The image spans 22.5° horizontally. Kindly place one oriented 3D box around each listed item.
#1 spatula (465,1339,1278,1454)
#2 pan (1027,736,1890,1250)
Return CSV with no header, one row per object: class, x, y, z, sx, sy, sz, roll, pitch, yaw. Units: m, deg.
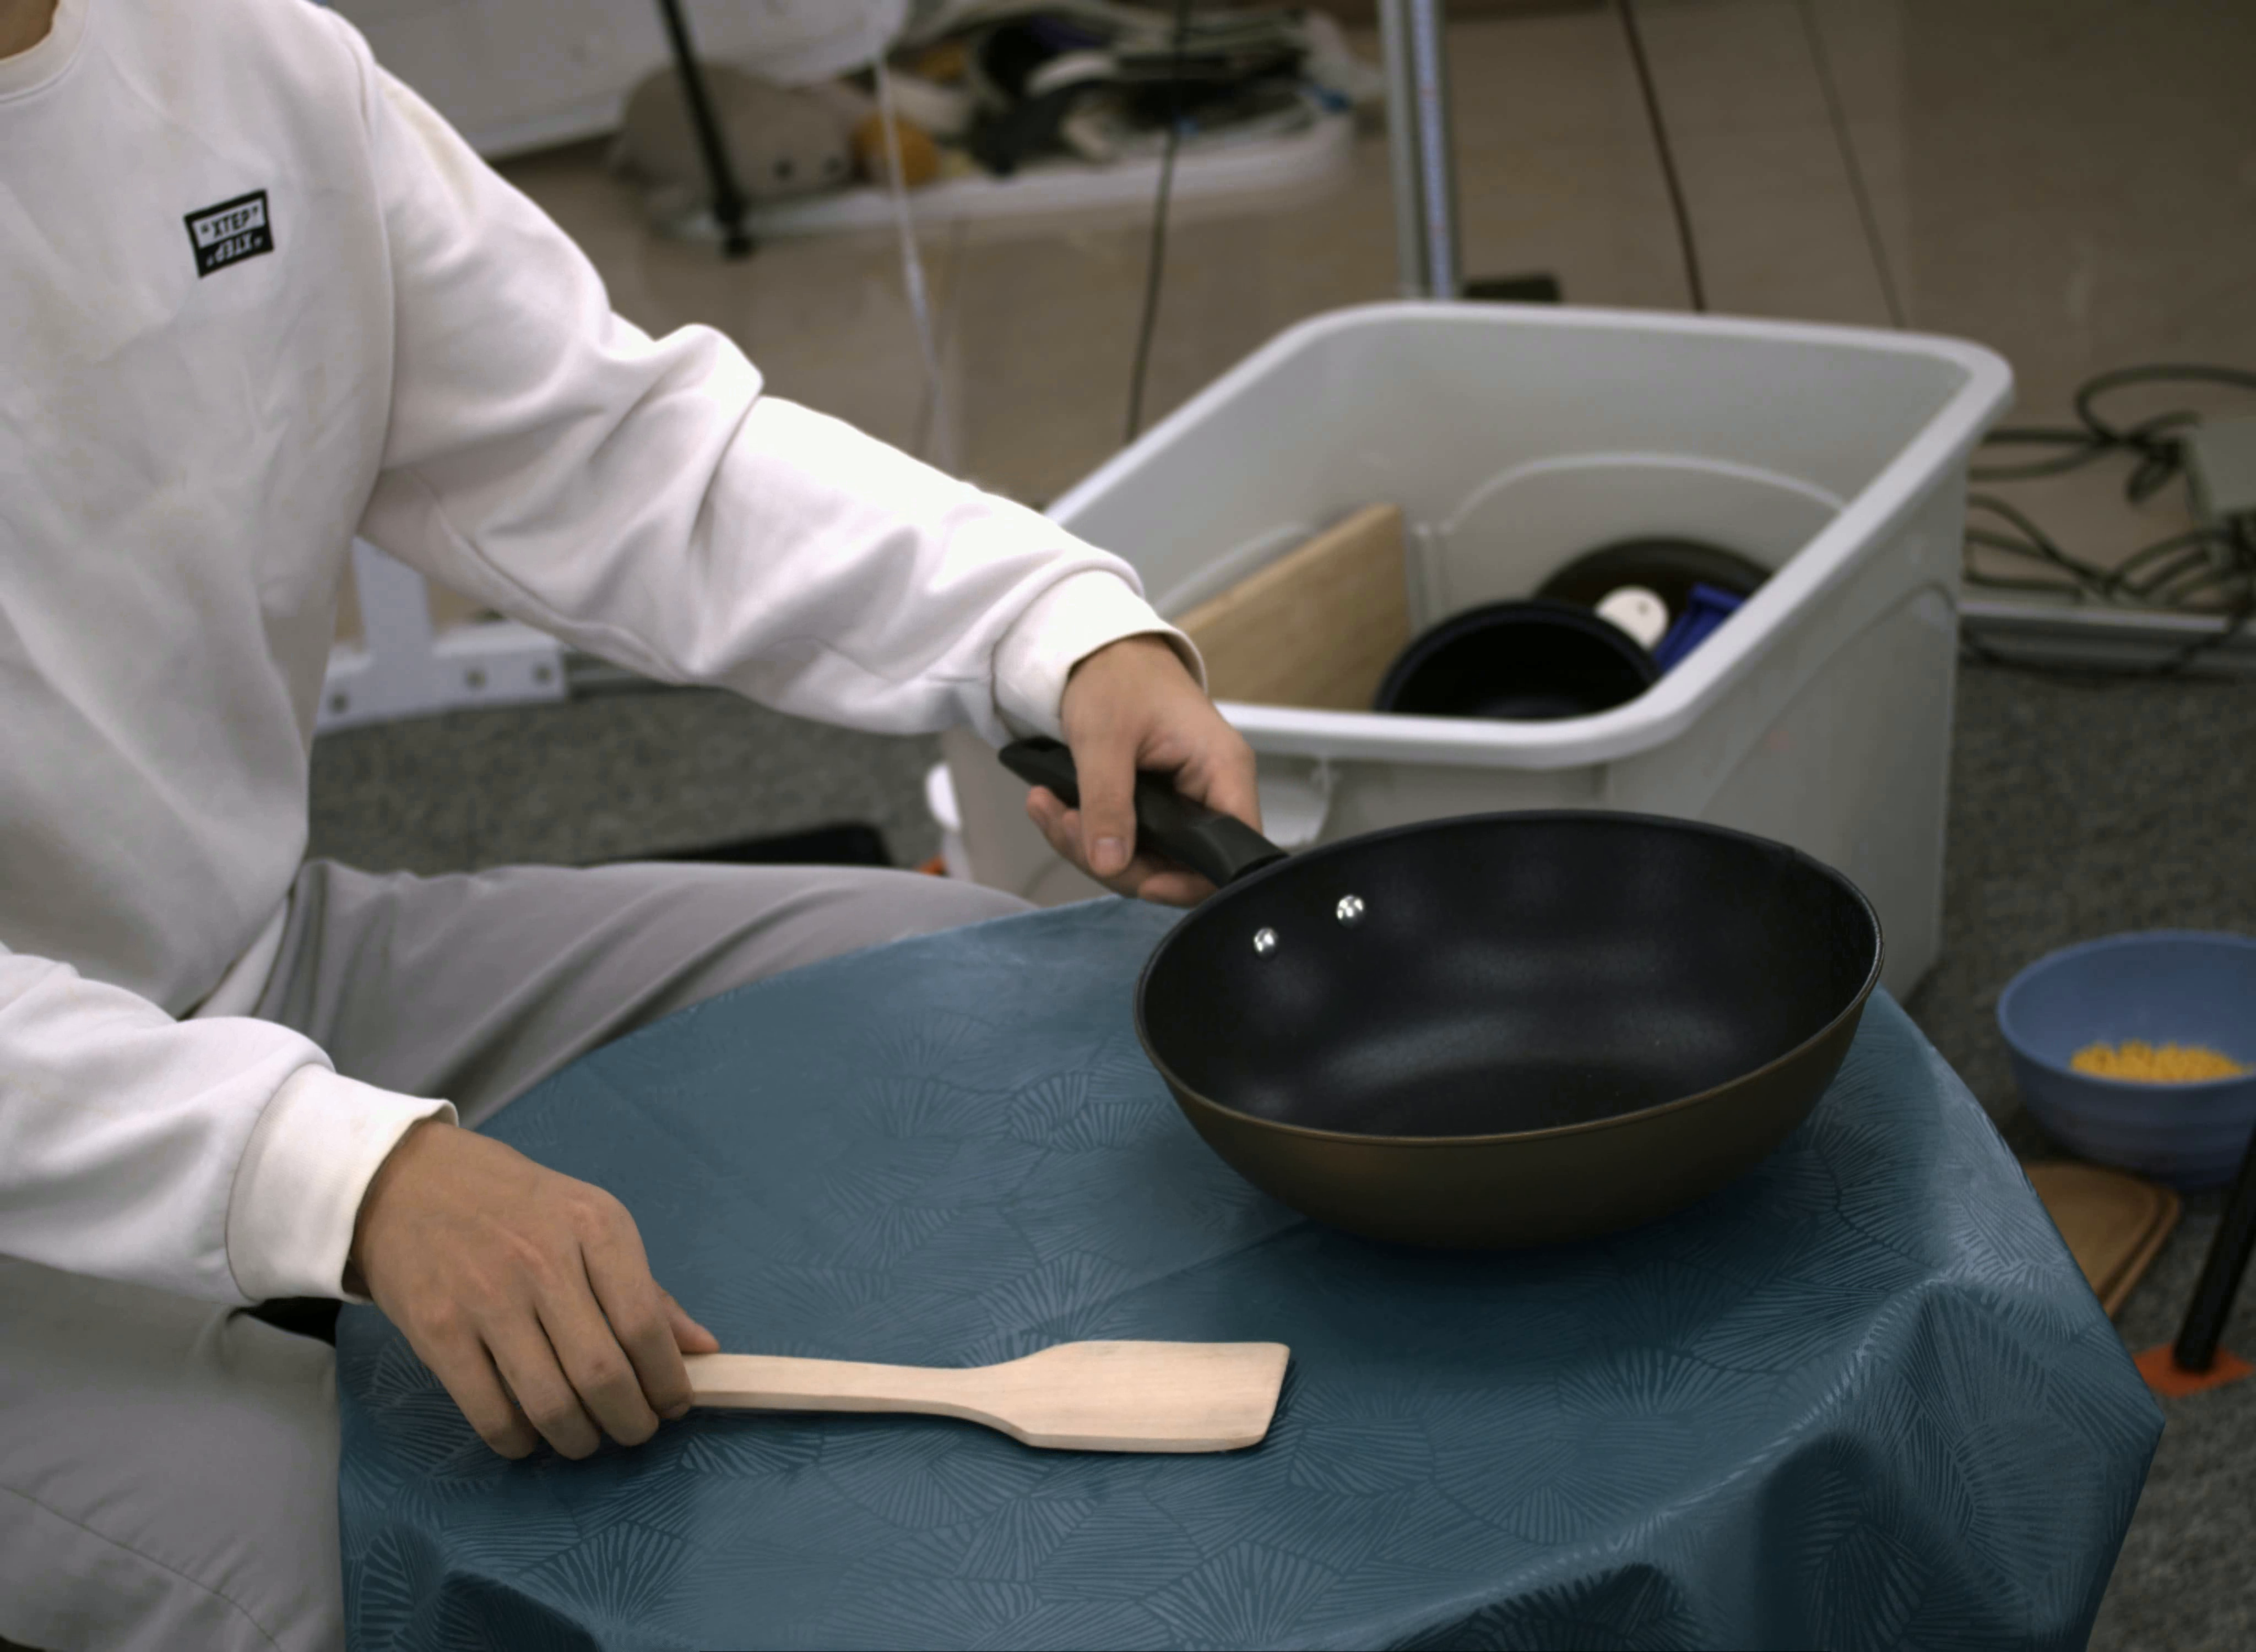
spatula,-0.094,0.199,2.019,0.292,0.011,0.071,1,25,9
pan,0.093,0.062,2.192,0.286,0.088,0.459,-21,27,-30
